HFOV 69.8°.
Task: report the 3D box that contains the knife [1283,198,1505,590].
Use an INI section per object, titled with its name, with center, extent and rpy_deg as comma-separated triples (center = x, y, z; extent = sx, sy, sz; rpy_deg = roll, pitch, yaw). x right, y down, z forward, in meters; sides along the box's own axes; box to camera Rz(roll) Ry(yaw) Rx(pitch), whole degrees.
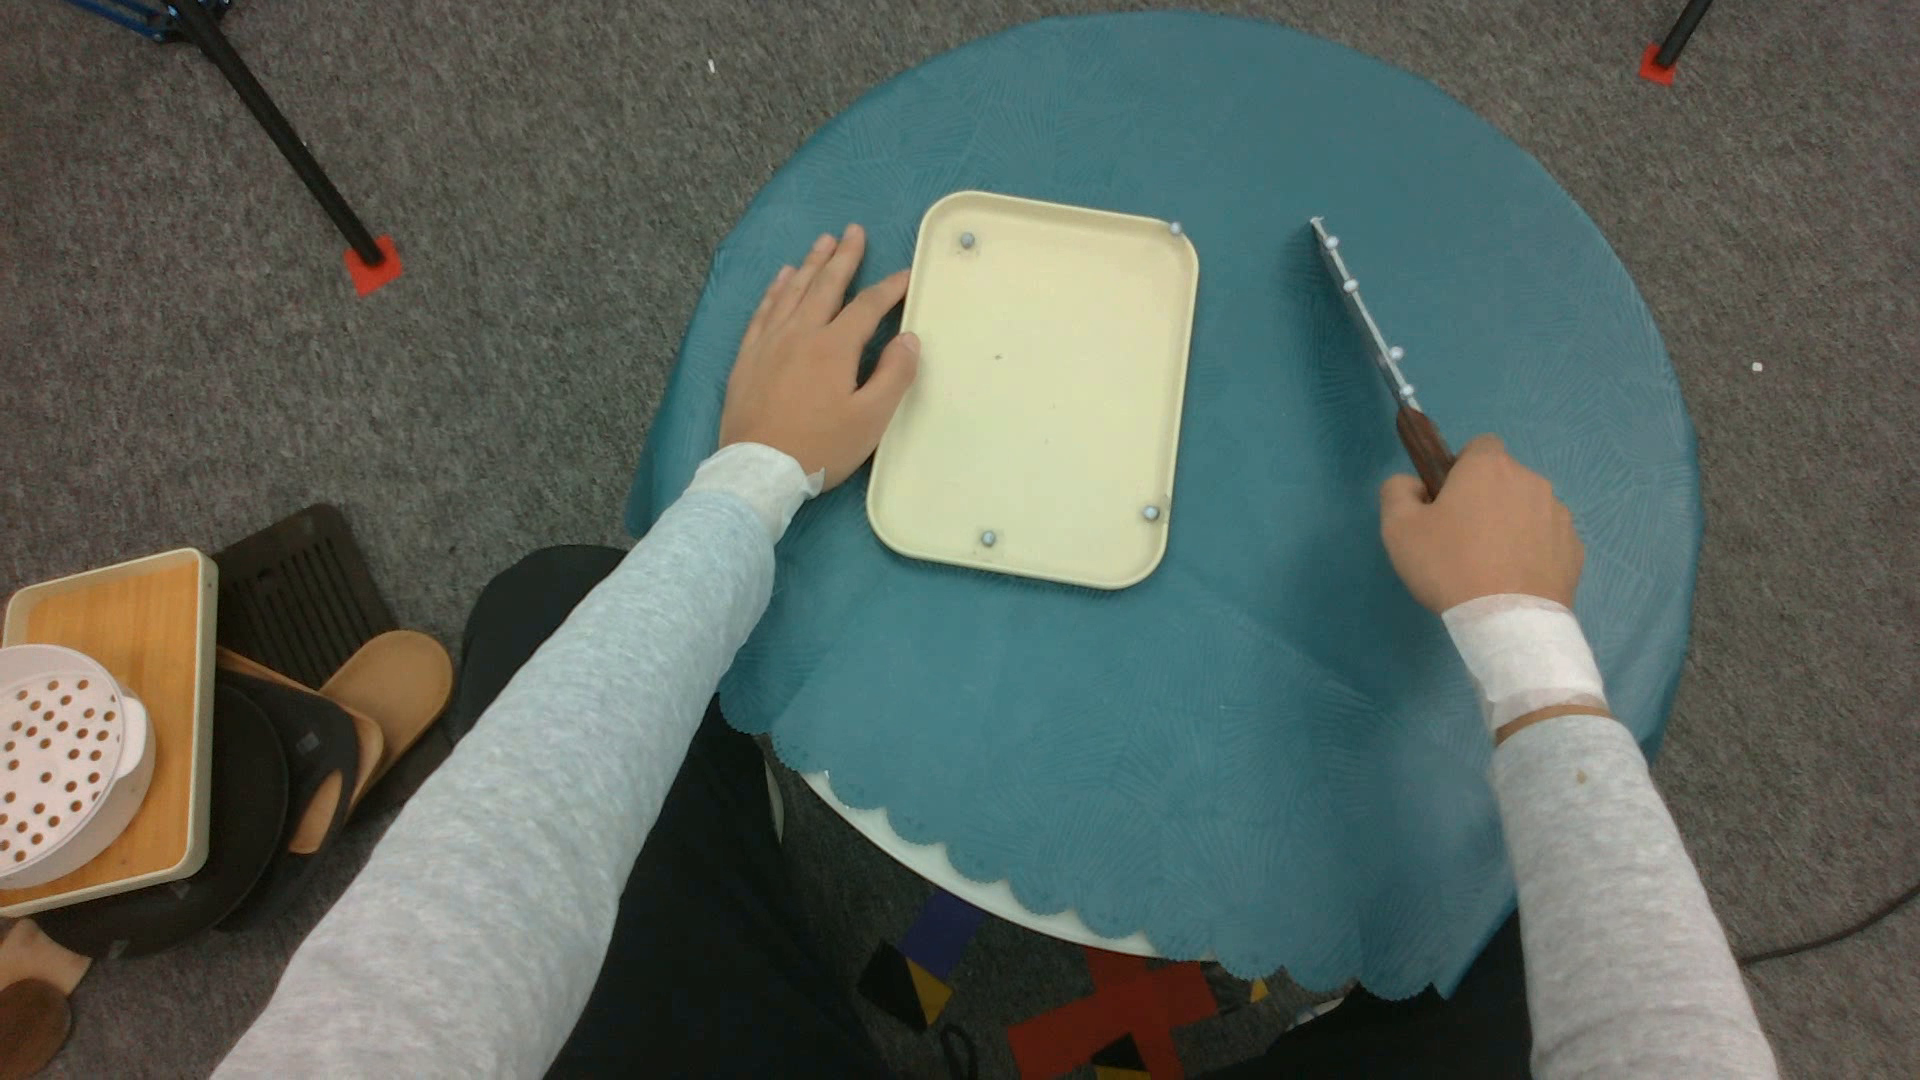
[knife]
center = 0.234, -0.094, 0.774
extent = 0.020, 0.050, 0.290
rpy_deg = -33, 54, 25

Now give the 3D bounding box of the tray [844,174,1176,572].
[tray]
center = 0.032, -0.100, 0.800
extent = 0.171, 0.017, 0.240
rpy_deg = 9, 70, 1
